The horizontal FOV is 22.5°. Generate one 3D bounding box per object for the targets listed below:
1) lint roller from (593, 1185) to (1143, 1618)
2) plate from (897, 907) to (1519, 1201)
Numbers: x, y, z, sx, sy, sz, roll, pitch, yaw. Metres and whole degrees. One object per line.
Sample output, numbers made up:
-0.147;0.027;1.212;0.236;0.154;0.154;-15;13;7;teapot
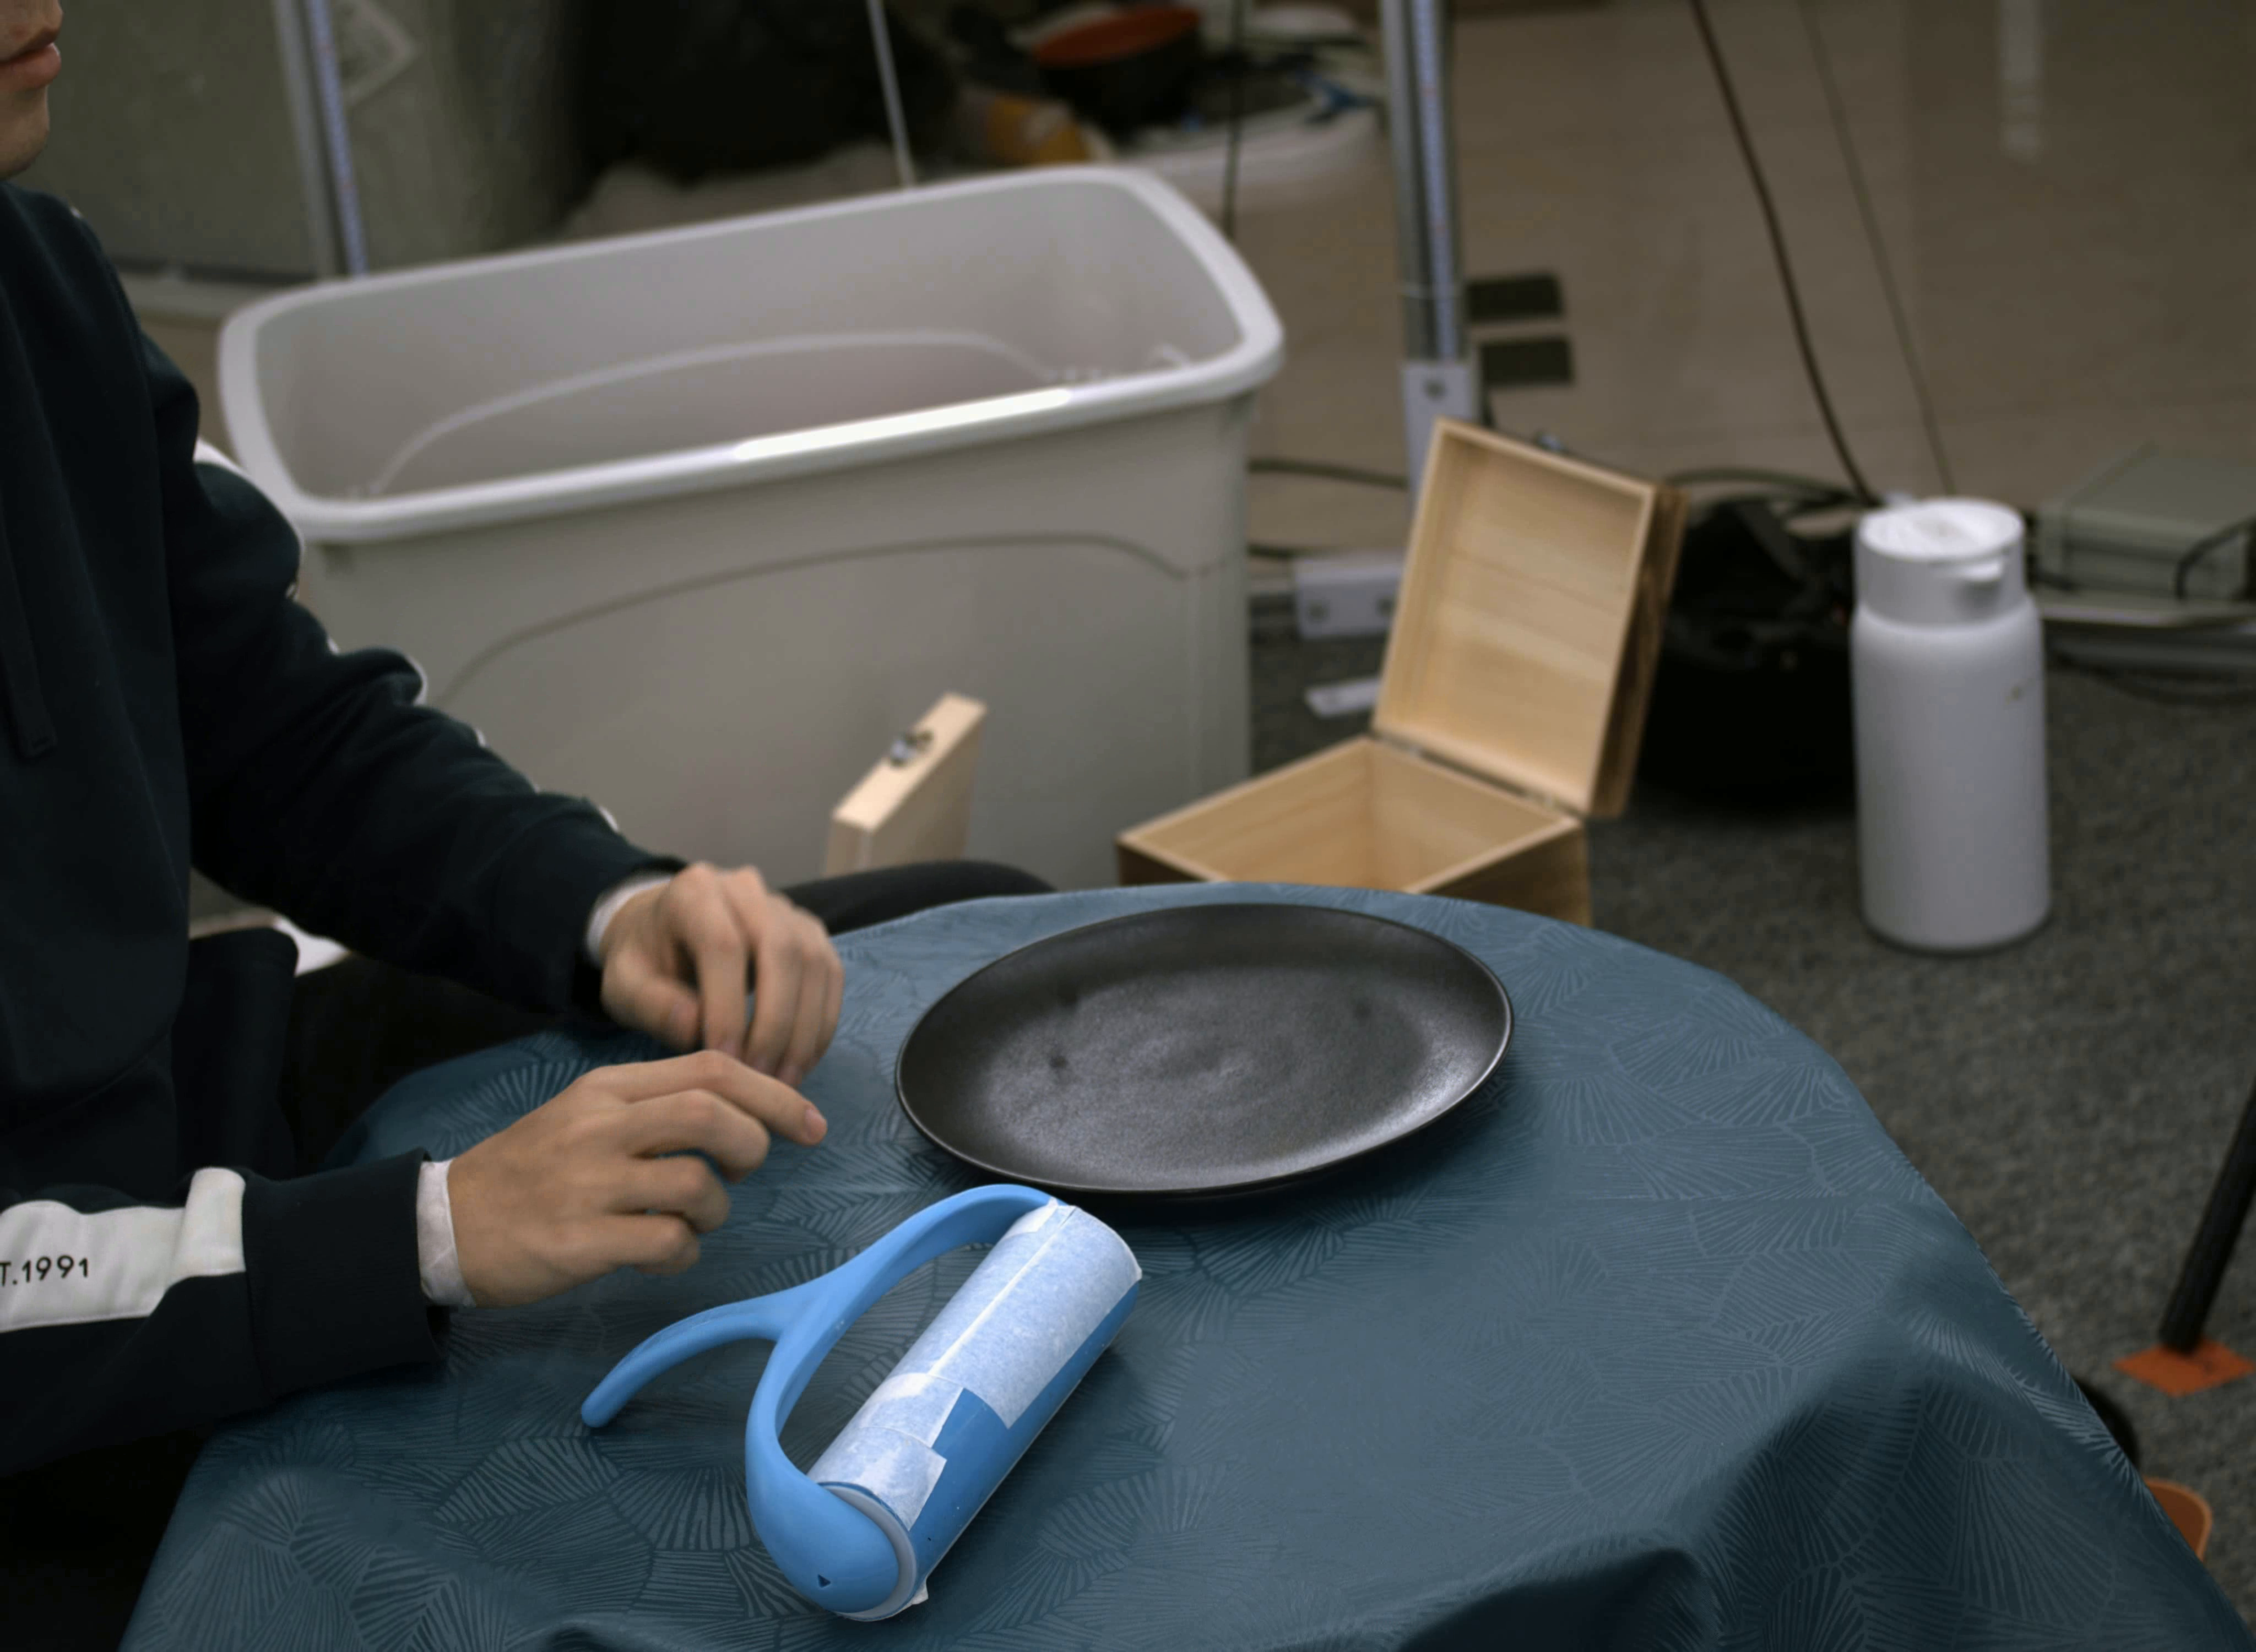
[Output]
-0.110;0.196;1.983;0.180;0.069;0.226;4;28;20;lint roller
0.032;0.093;2.208;0.244;0.024;0.241;-5;25;3;plate
